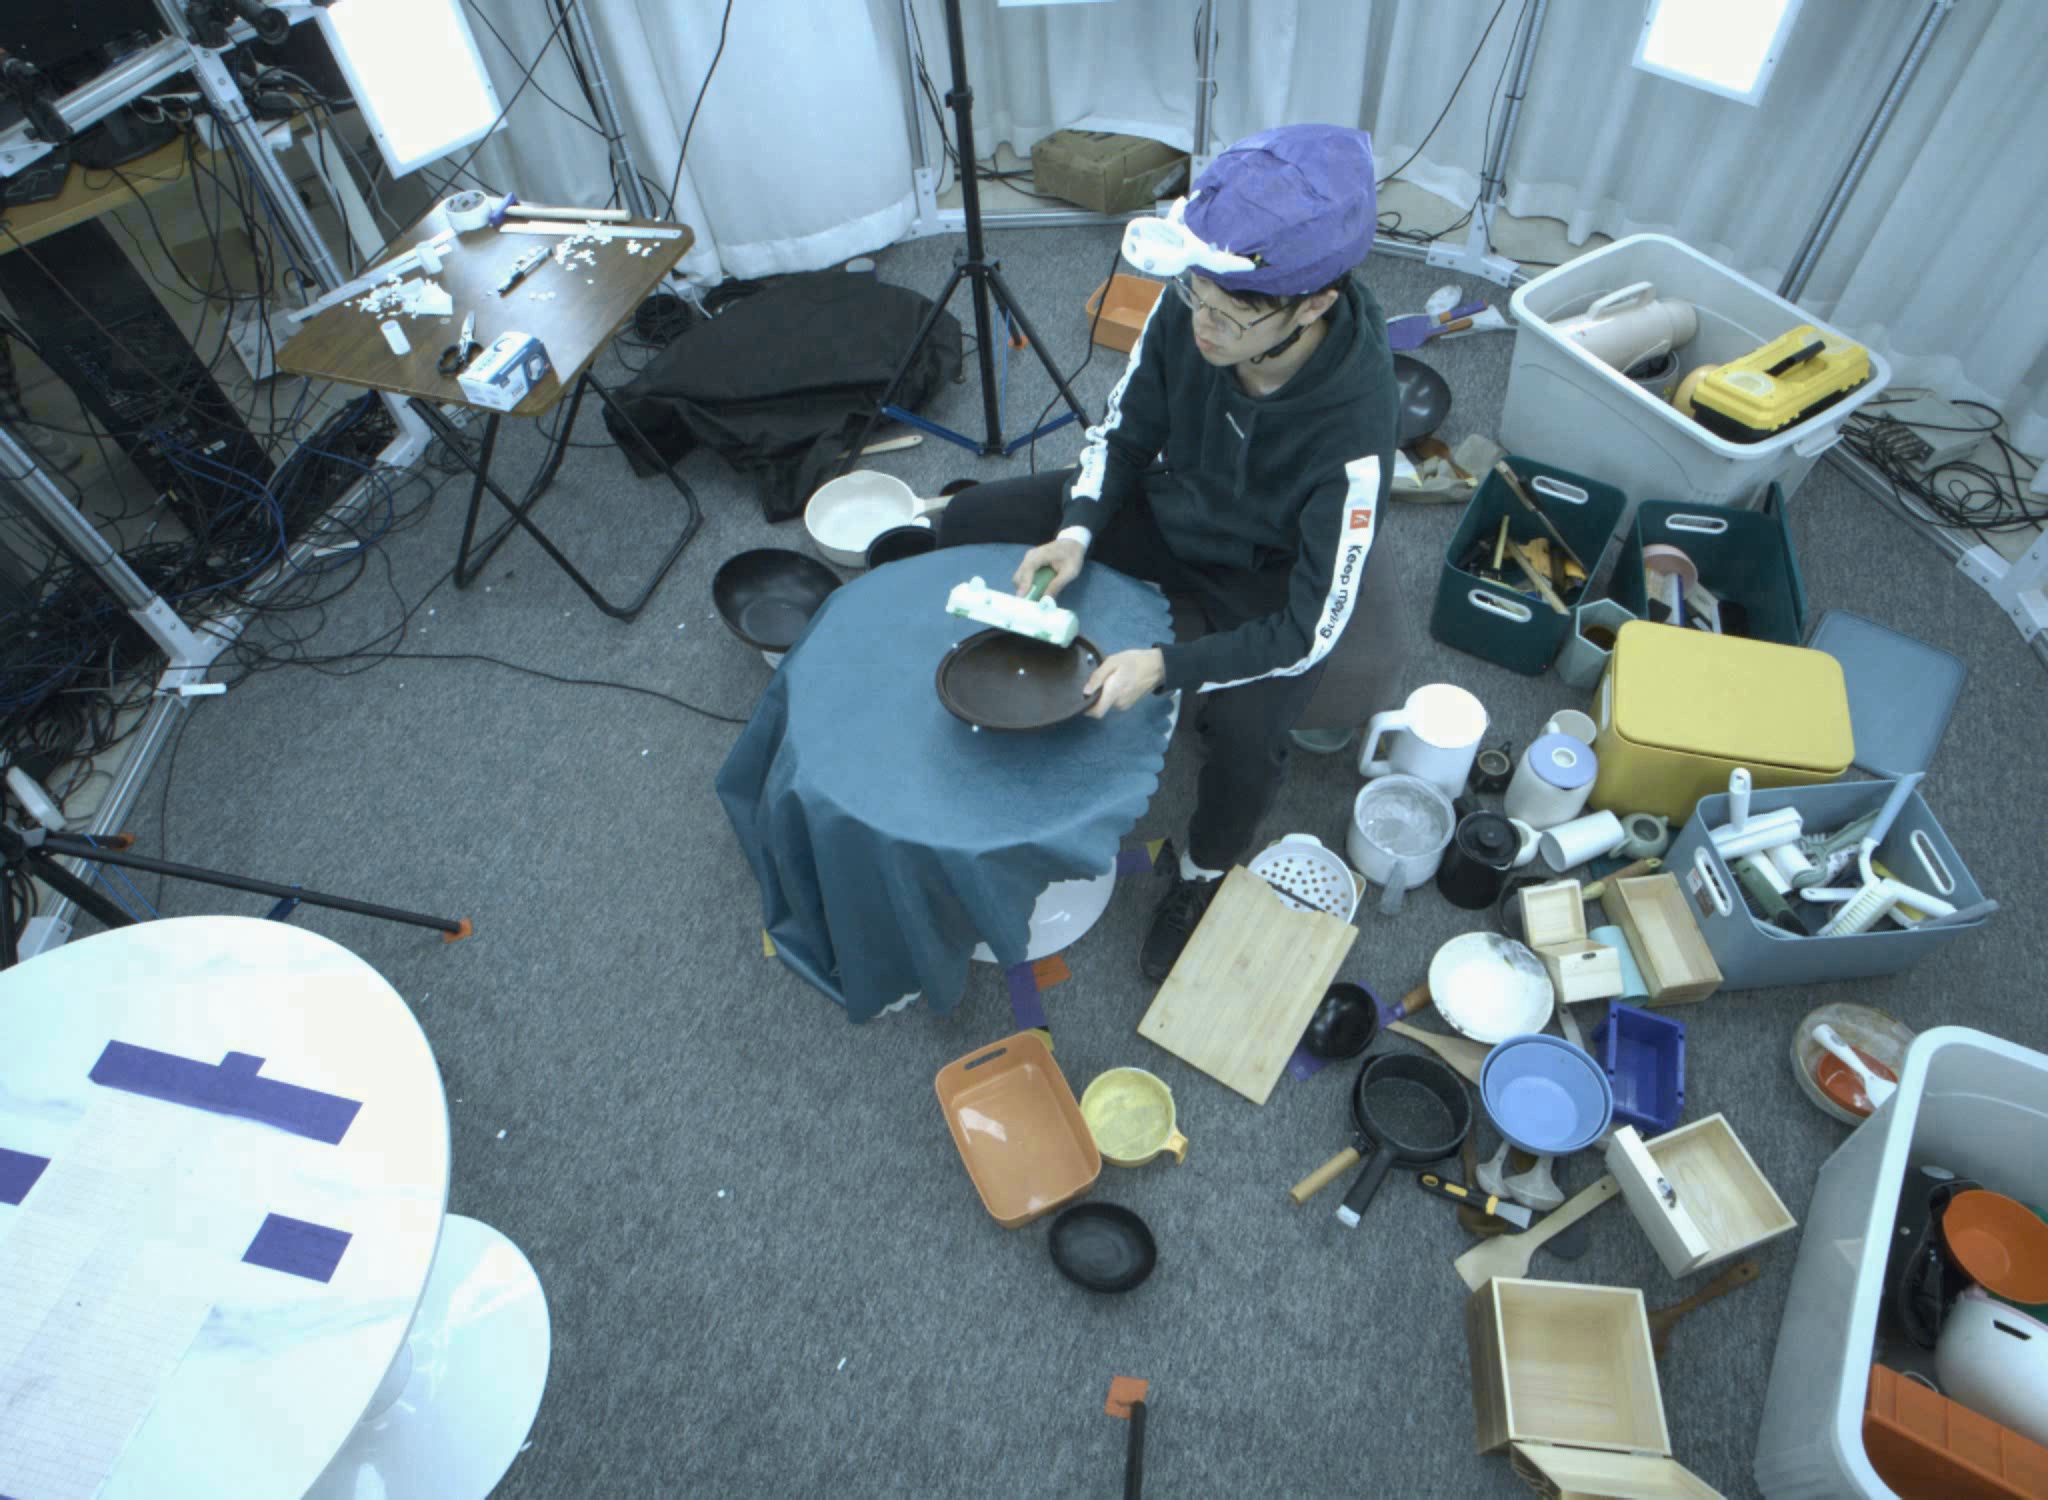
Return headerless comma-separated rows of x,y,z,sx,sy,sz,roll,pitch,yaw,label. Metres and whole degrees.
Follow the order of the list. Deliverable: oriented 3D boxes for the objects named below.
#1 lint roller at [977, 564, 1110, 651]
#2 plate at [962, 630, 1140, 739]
0.054,-0.239,1.836,0.195,0.083,0.184,20,57,21,lint roller
0.039,-0.099,1.757,0.254,0.029,0.252,-3,41,4,plate
